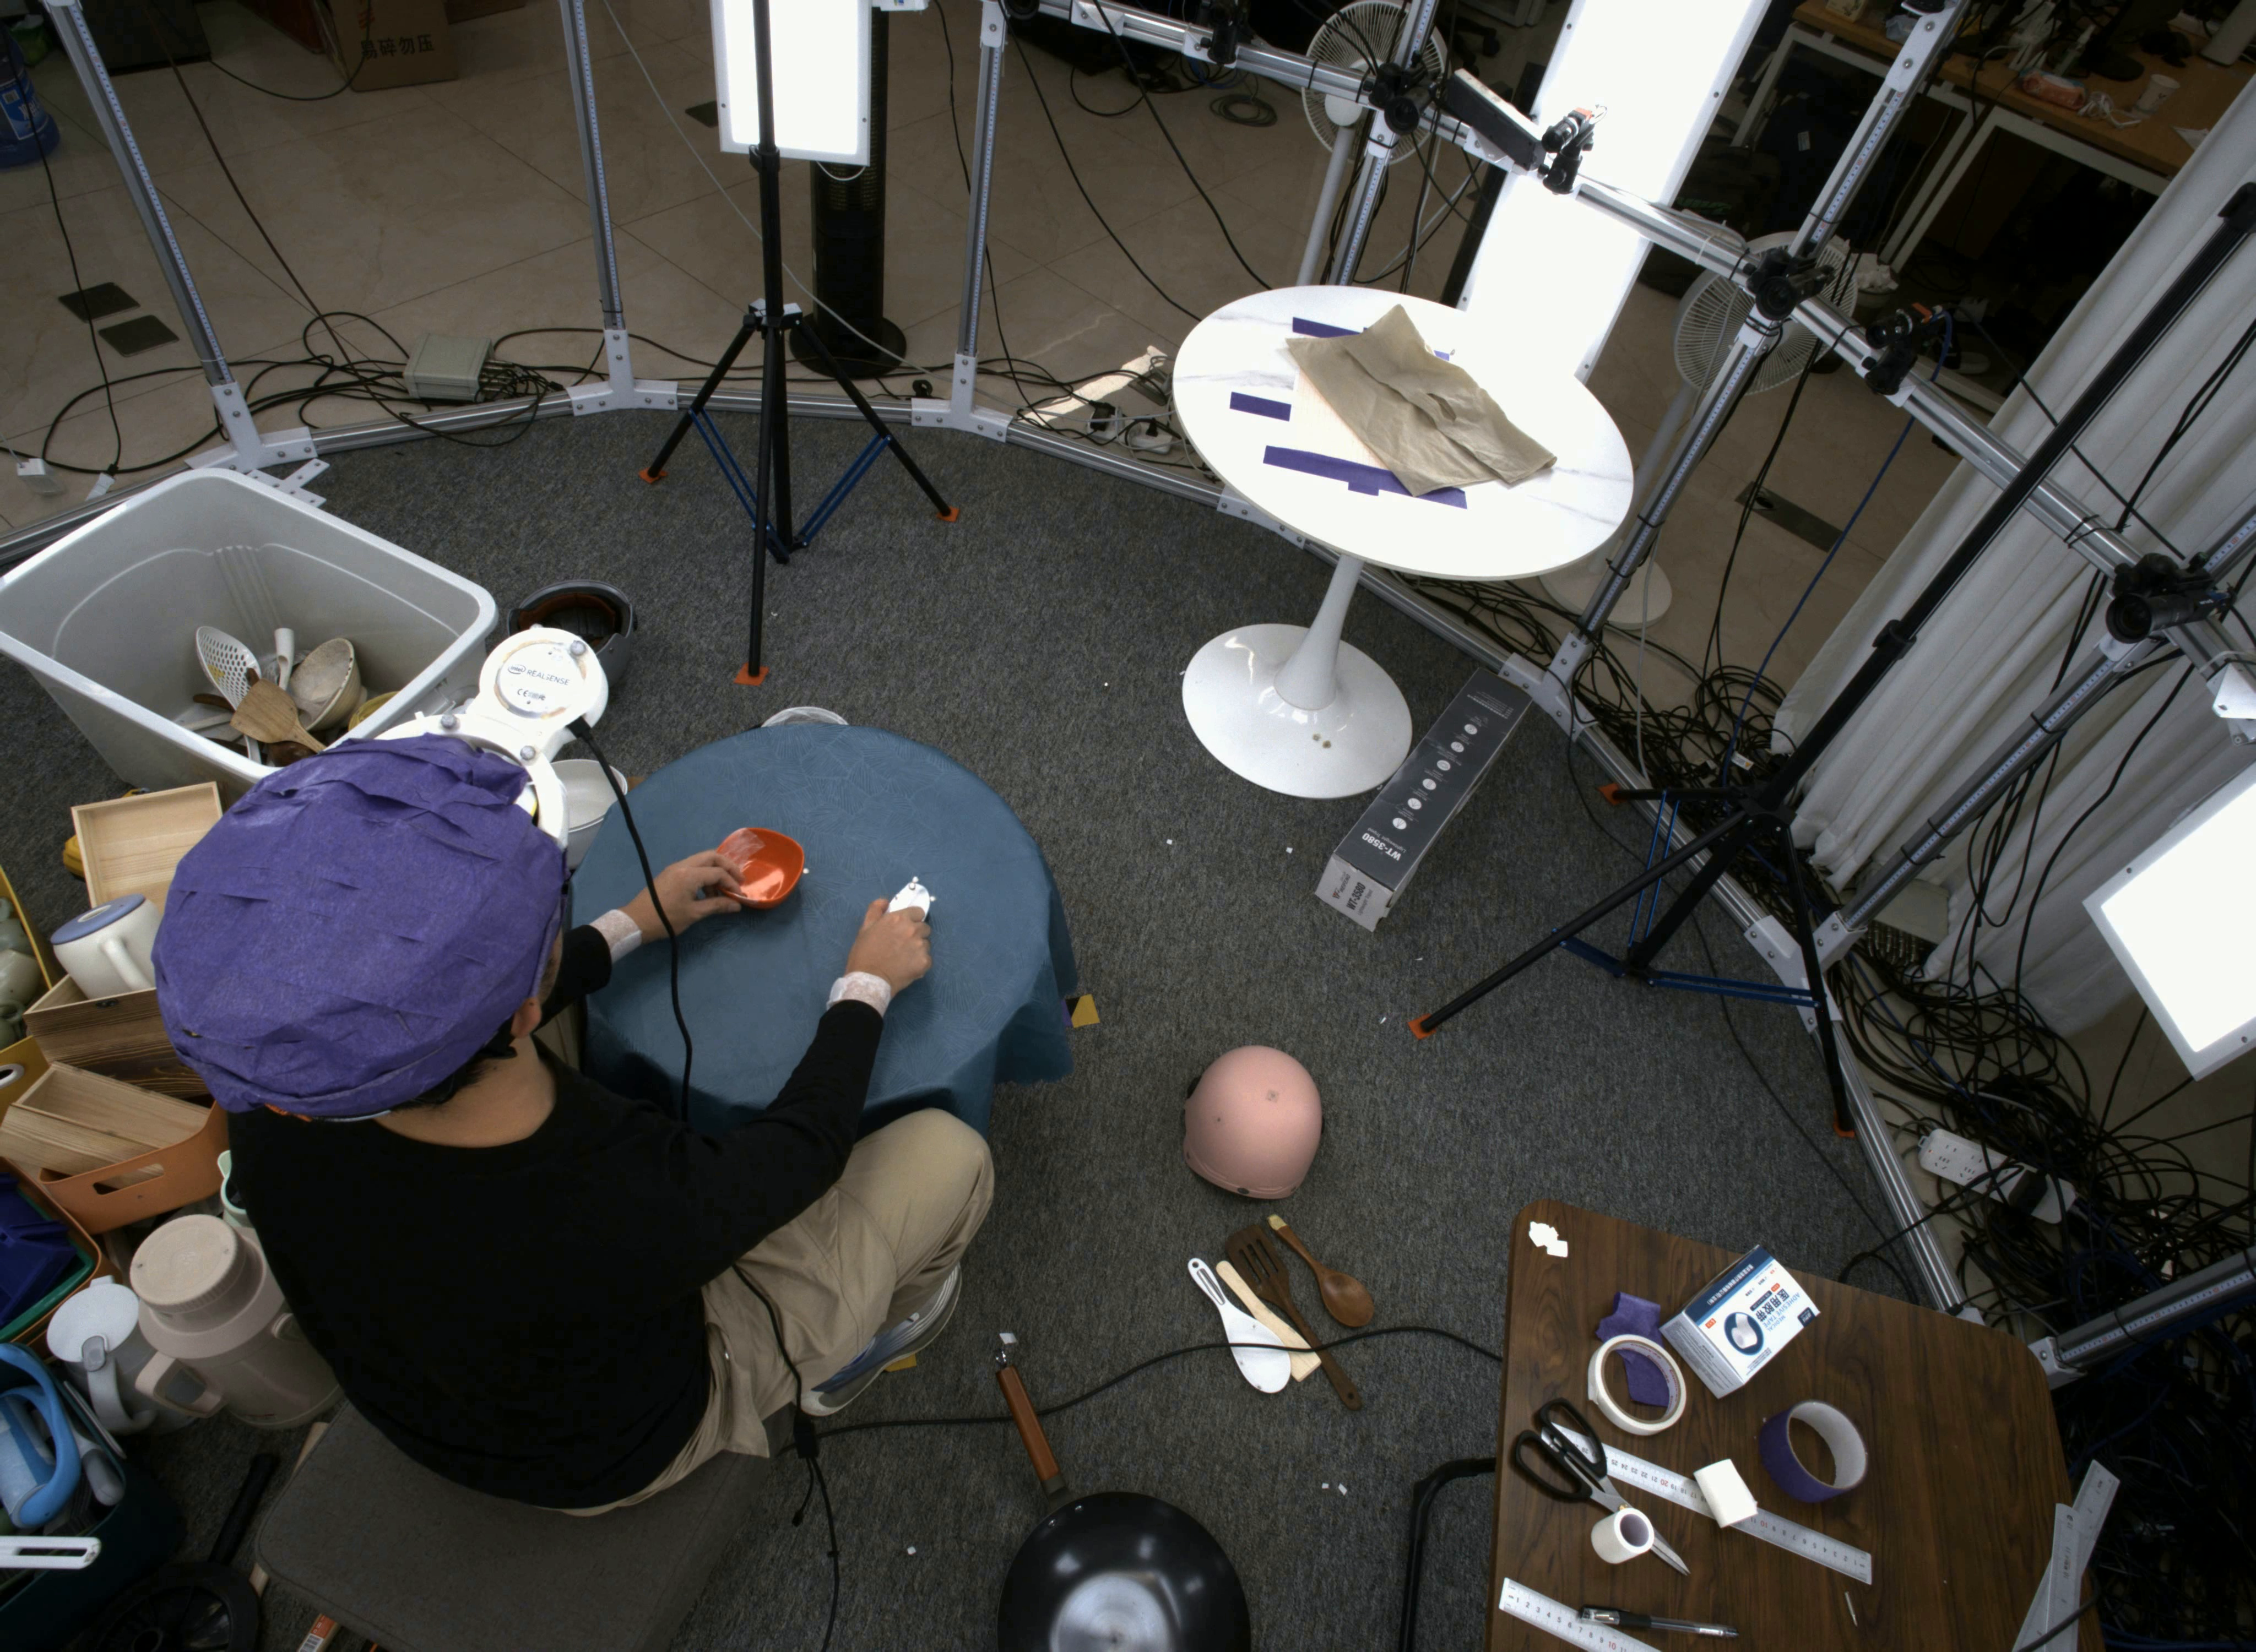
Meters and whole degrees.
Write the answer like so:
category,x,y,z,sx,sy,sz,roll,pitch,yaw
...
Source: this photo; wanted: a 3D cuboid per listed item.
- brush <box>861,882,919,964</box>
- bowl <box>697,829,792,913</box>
category,x,y,z,sx,sy,sz,roll,pitch,yaw
brush,-0.296,0.112,1.621,0.049,0.074,0.098,24,51,6
bowl,-0.480,0.063,1.623,0.119,0.052,0.116,10,50,-10
